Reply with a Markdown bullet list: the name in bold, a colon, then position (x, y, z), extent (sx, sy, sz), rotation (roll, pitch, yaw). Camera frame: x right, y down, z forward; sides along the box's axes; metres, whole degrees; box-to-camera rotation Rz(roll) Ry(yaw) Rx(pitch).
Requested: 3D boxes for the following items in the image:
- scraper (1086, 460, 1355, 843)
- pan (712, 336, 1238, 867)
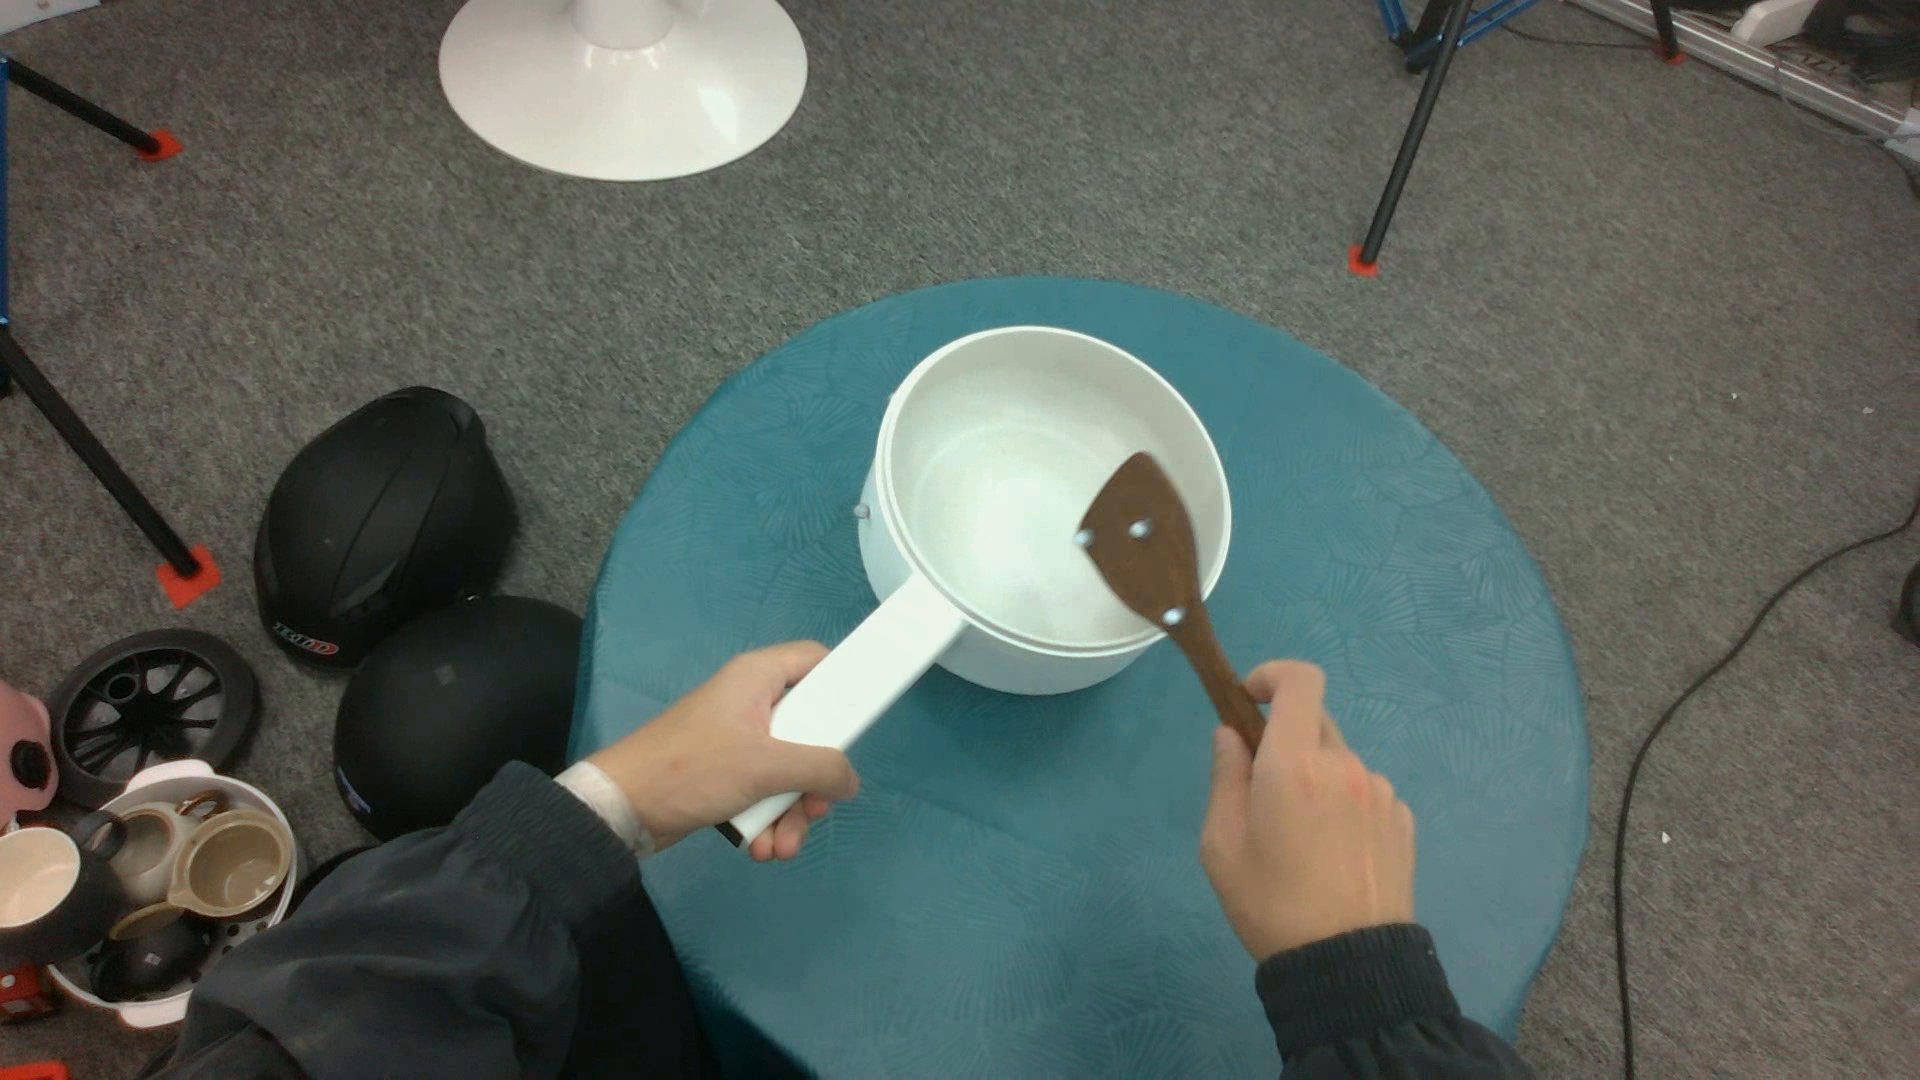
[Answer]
- **scraper**: position (0.129, 0.056, 0.686), extent (0.011, 0.075, 0.212), rotation (-10, 56, -34)
- **pan**: position (0.001, 0.041, 0.755), extent (0.201, 0.101, 0.356), rotation (40, 62, 7)
